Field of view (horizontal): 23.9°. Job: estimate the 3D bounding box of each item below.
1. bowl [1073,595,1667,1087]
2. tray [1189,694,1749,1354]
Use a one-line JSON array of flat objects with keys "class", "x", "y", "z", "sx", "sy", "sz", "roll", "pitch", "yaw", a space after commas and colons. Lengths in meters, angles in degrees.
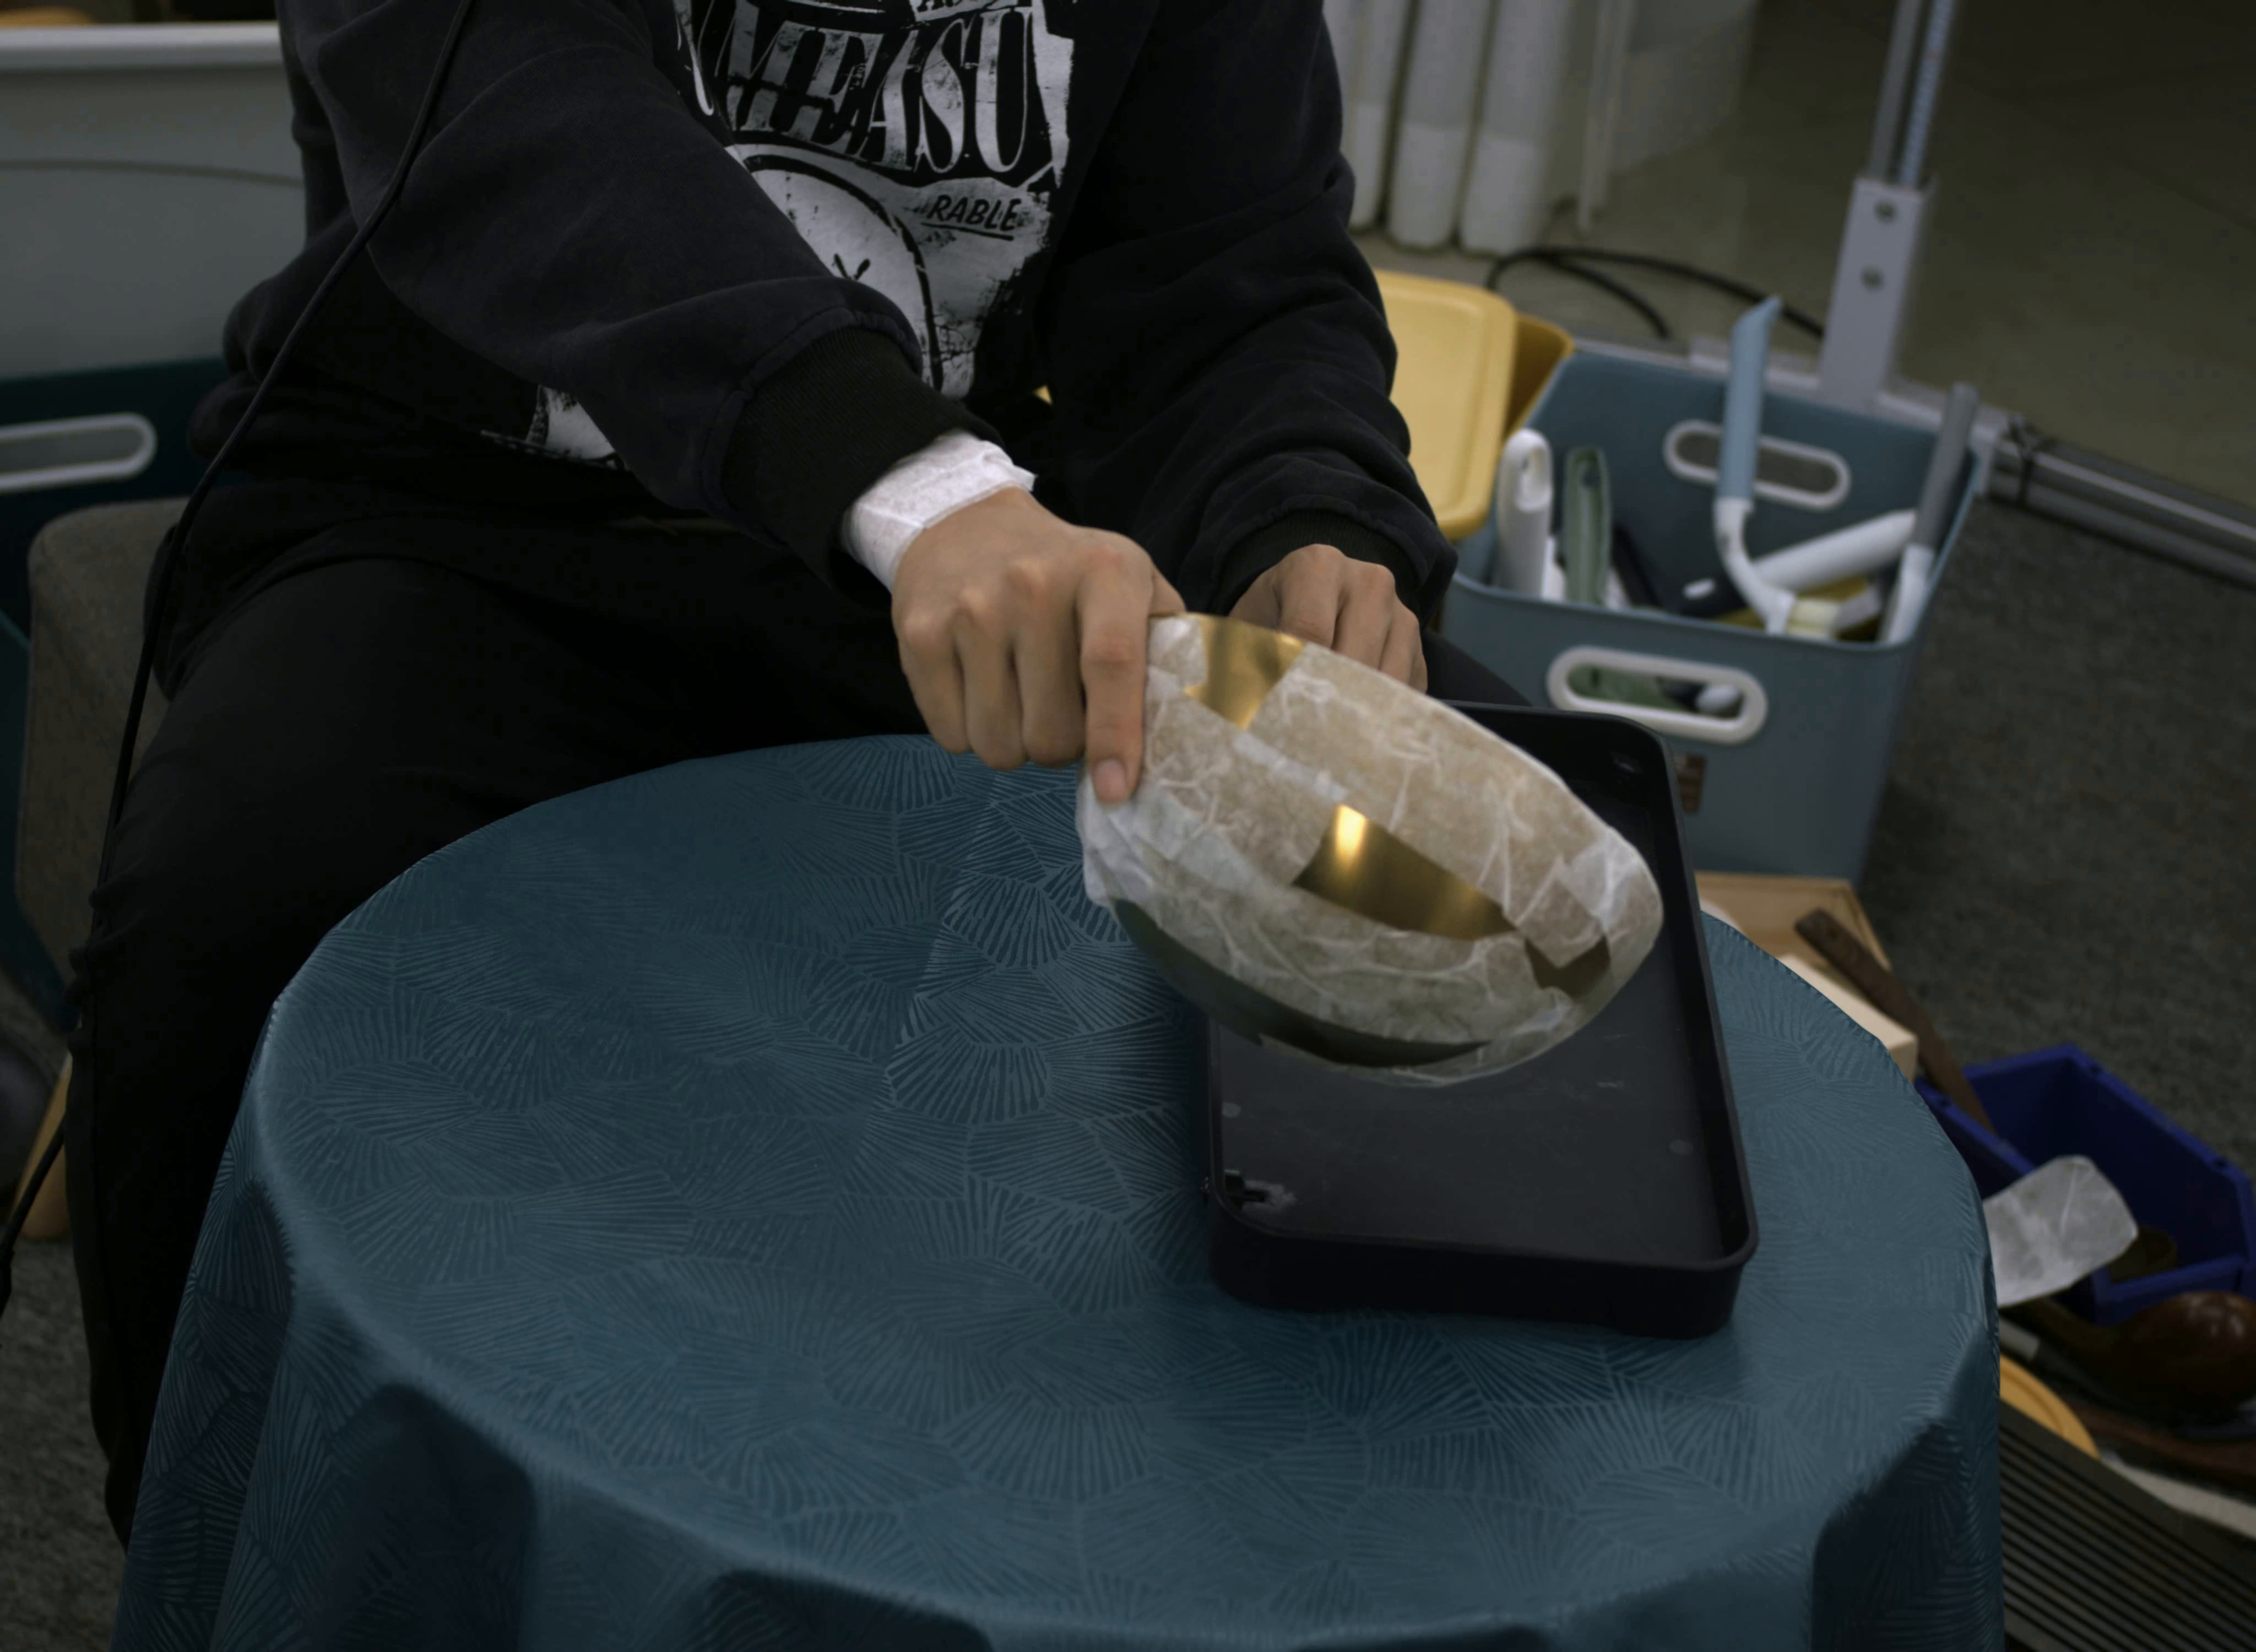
[{"class": "bowl", "x": 0.062, "y": 0.023, "z": 1.701, "sx": 0.216, "sy": 0.213, "sz": 0.095, "roll": 21, "pitch": 73, "yaw": 25}, {"class": "tray", "x": 0.112, "y": 0.060, "z": 1.864, "sx": 0.183, "sy": 0.037, "sz": 0.320, "roll": 6, "pitch": 36, "yaw": -4}]
